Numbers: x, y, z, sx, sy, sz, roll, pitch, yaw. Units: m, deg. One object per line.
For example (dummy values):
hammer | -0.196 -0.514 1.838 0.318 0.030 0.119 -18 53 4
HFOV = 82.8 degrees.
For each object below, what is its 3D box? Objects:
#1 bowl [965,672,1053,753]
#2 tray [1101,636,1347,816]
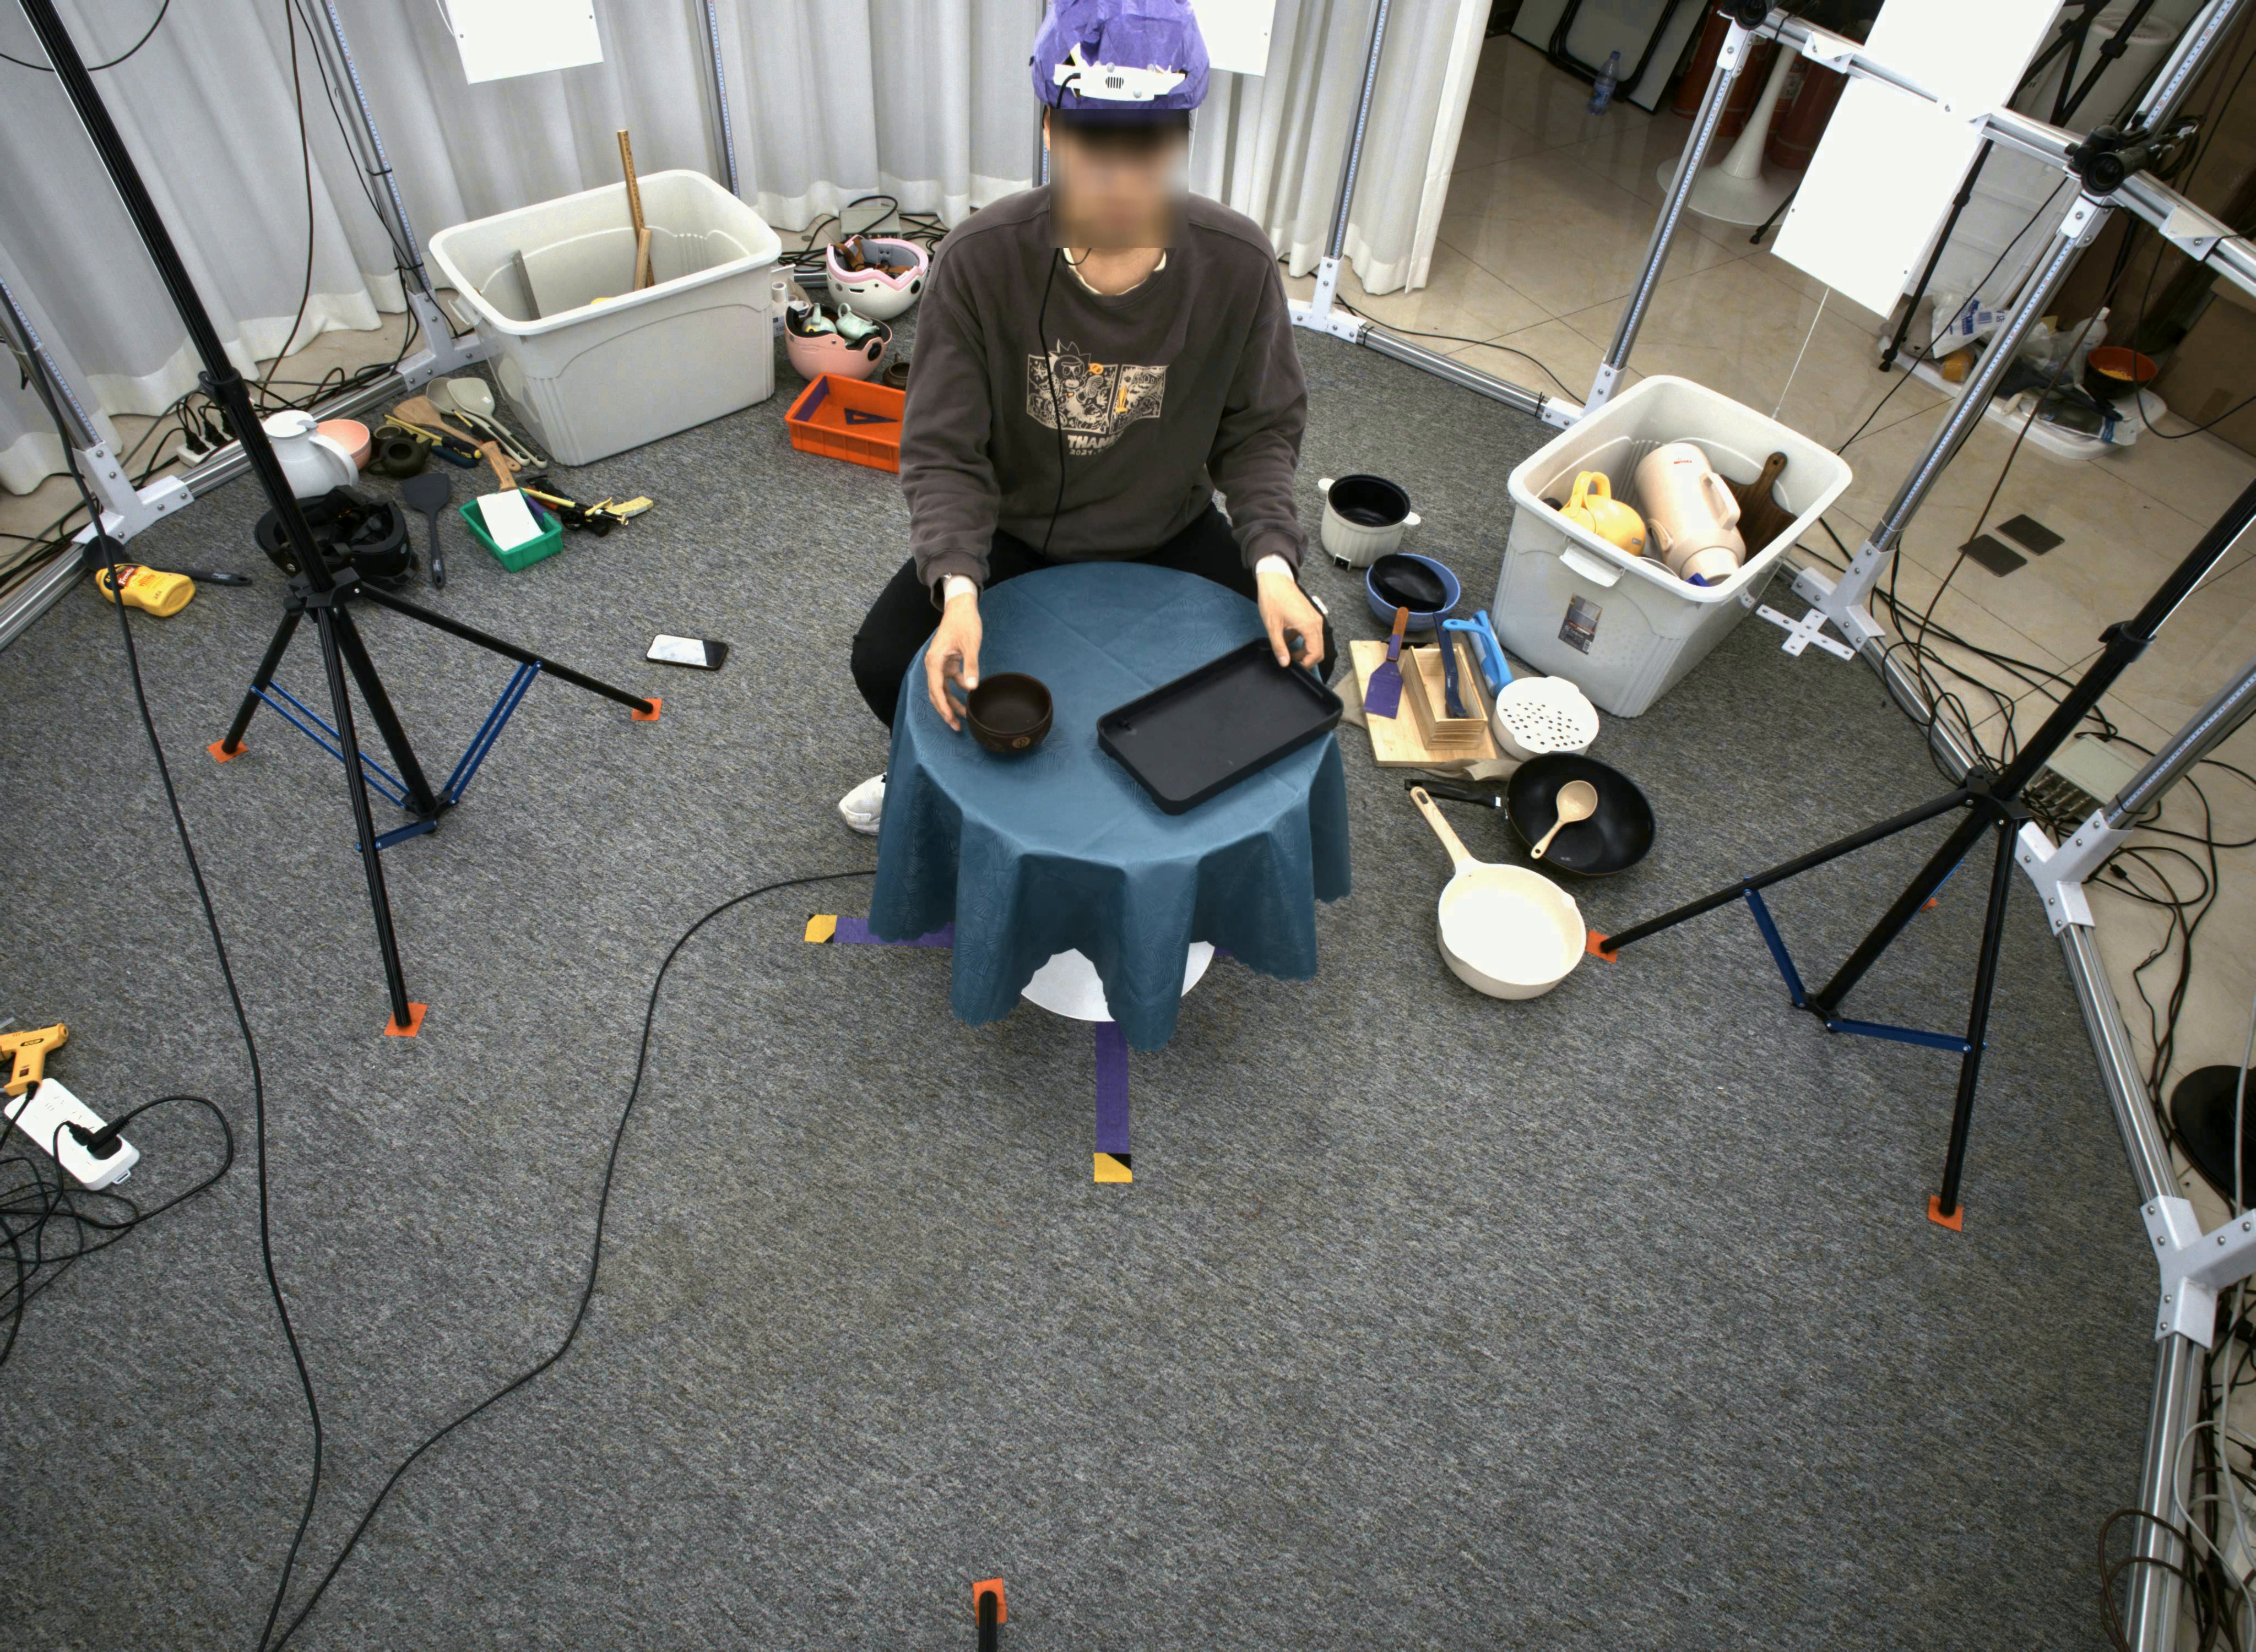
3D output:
bowl | -0.160 -0.145 1.735 0.118 0.068 0.121 1 48 -1
tray | 0.134 -0.145 1.776 0.320 0.036 0.187 -30 56 -25
